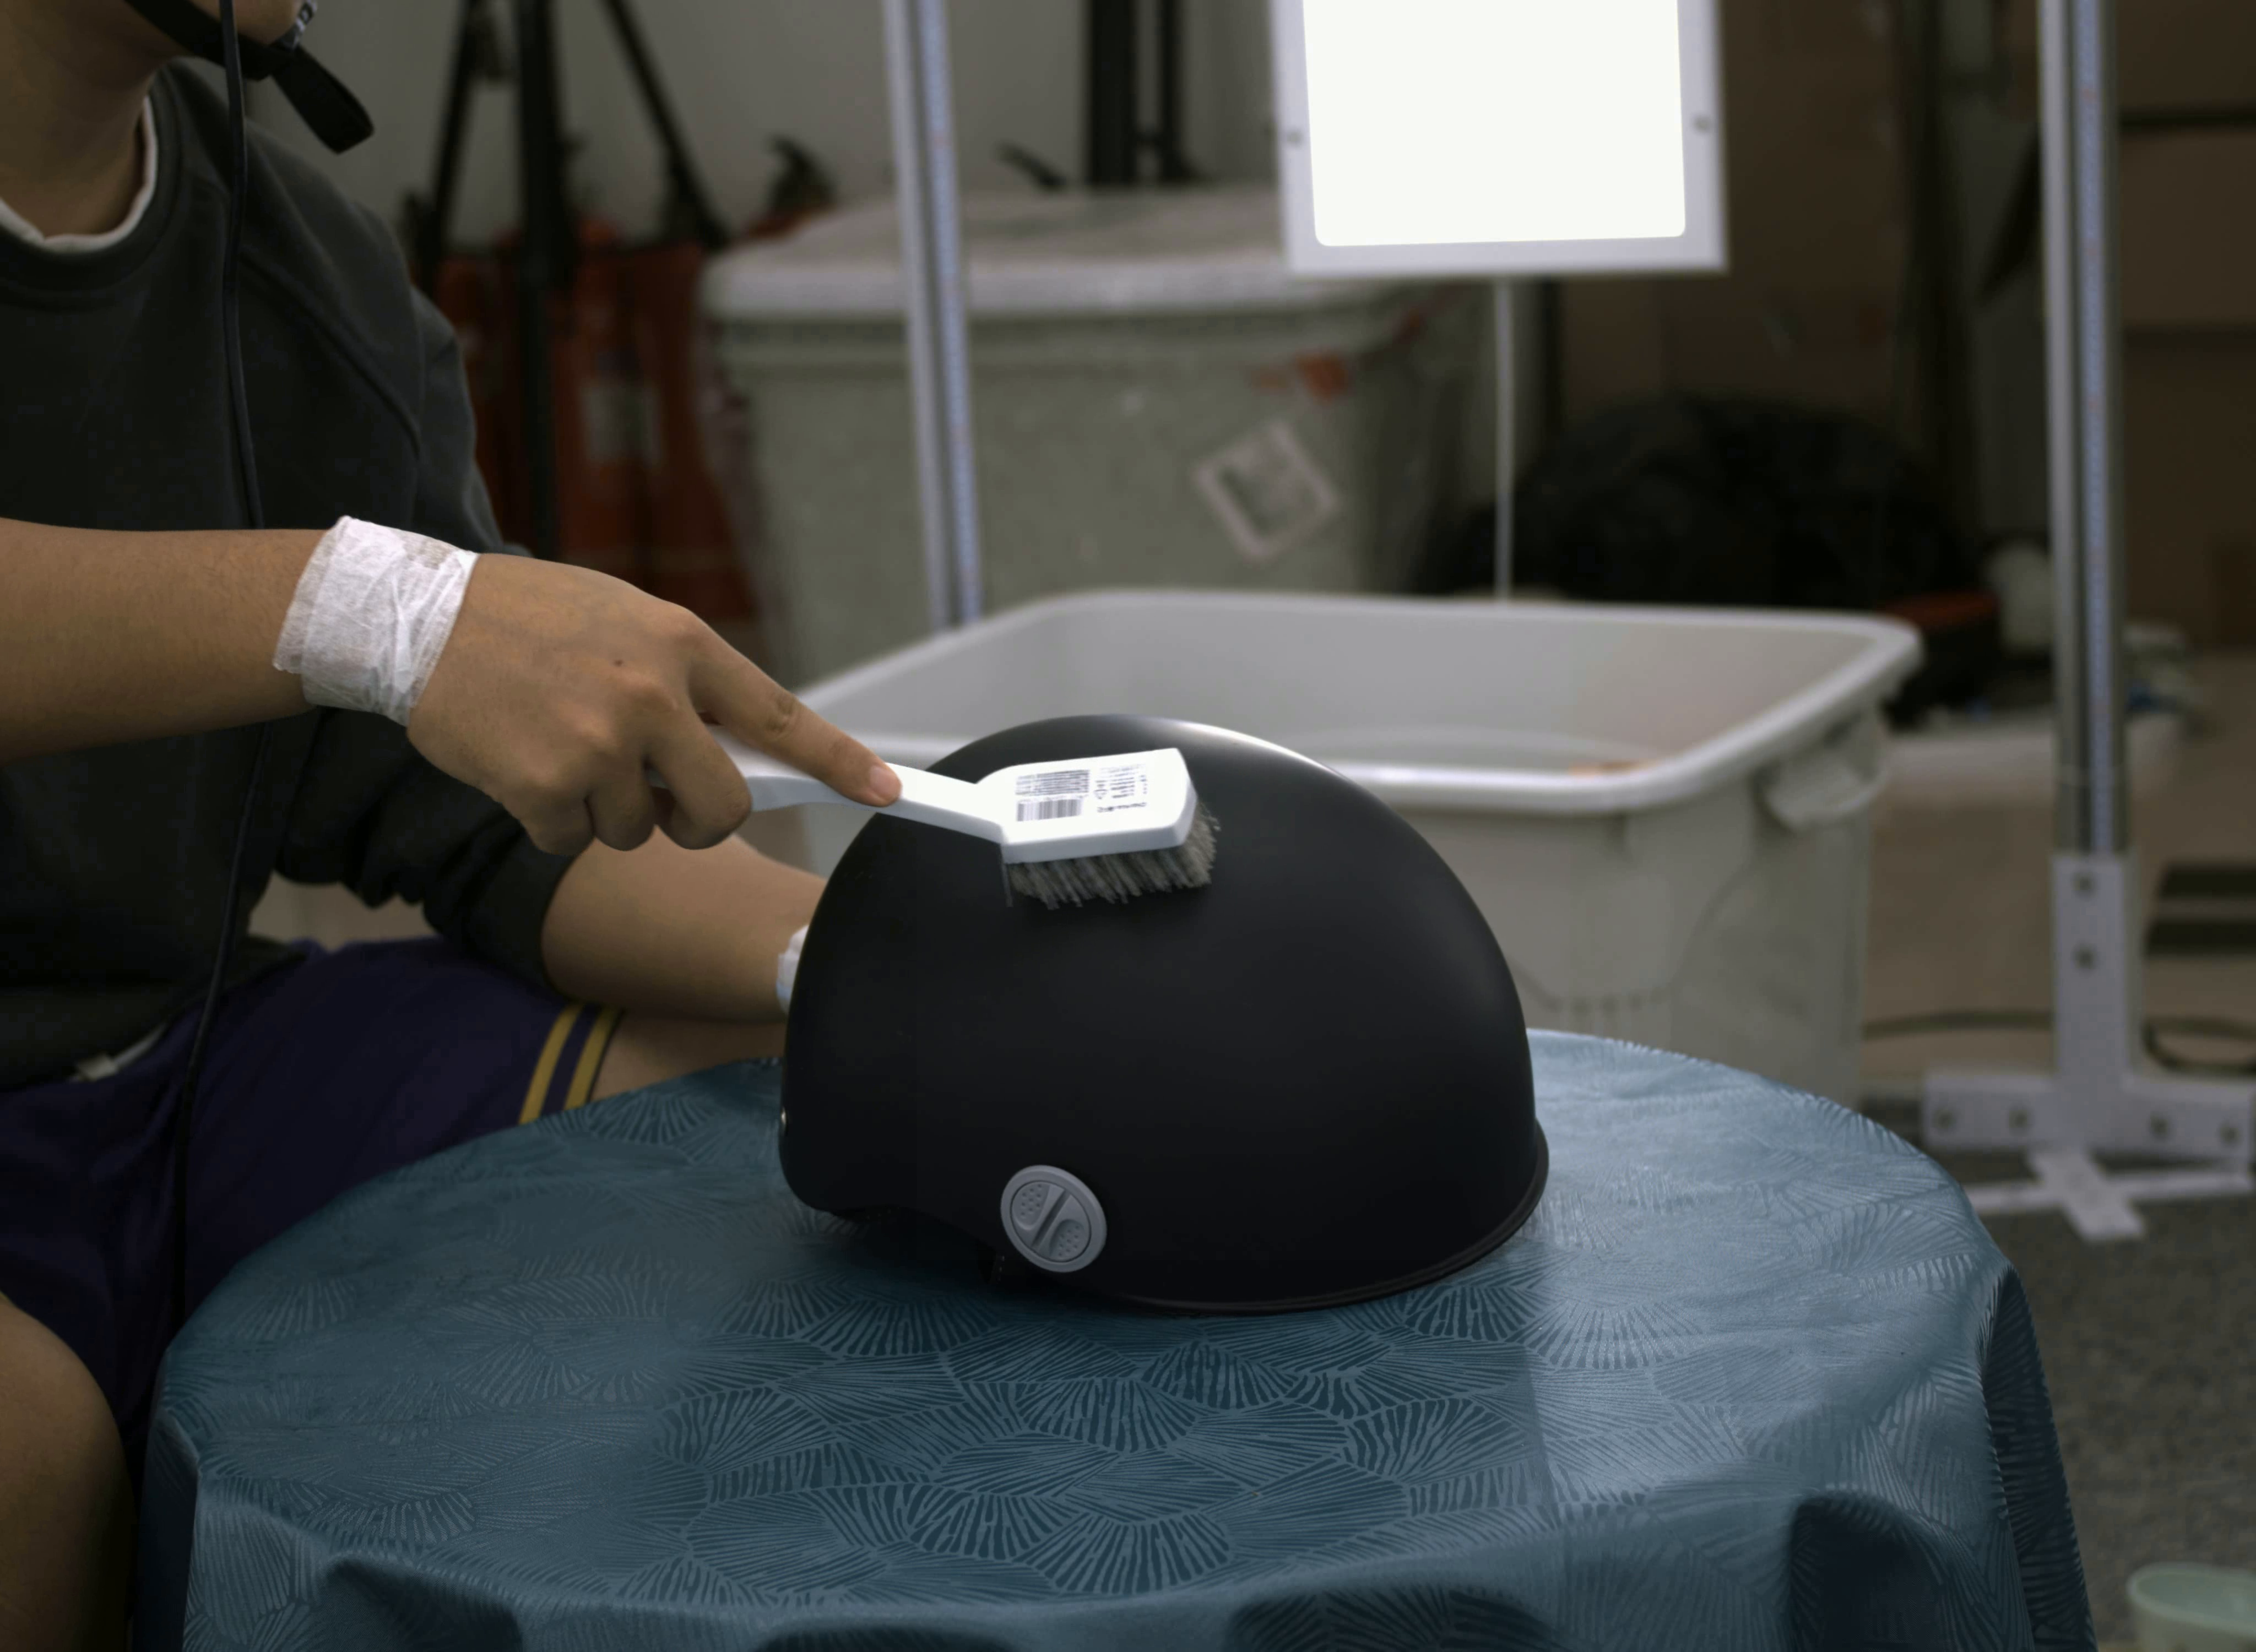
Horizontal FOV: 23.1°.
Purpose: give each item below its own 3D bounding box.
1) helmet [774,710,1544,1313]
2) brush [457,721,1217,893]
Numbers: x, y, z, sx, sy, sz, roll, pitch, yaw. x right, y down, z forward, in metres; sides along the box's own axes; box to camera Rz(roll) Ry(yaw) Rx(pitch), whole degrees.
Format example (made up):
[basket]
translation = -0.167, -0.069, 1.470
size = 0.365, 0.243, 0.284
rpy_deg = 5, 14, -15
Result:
[helmet]
translation = 0.006, 0.049, 1.846
size = 0.279, 0.167, 0.224
rpy_deg = 13, 30, 40
[brush]
translation = -0.091, -0.007, 1.751
size = 0.242, 0.050, 0.034
rpy_deg = 2, 51, -2
